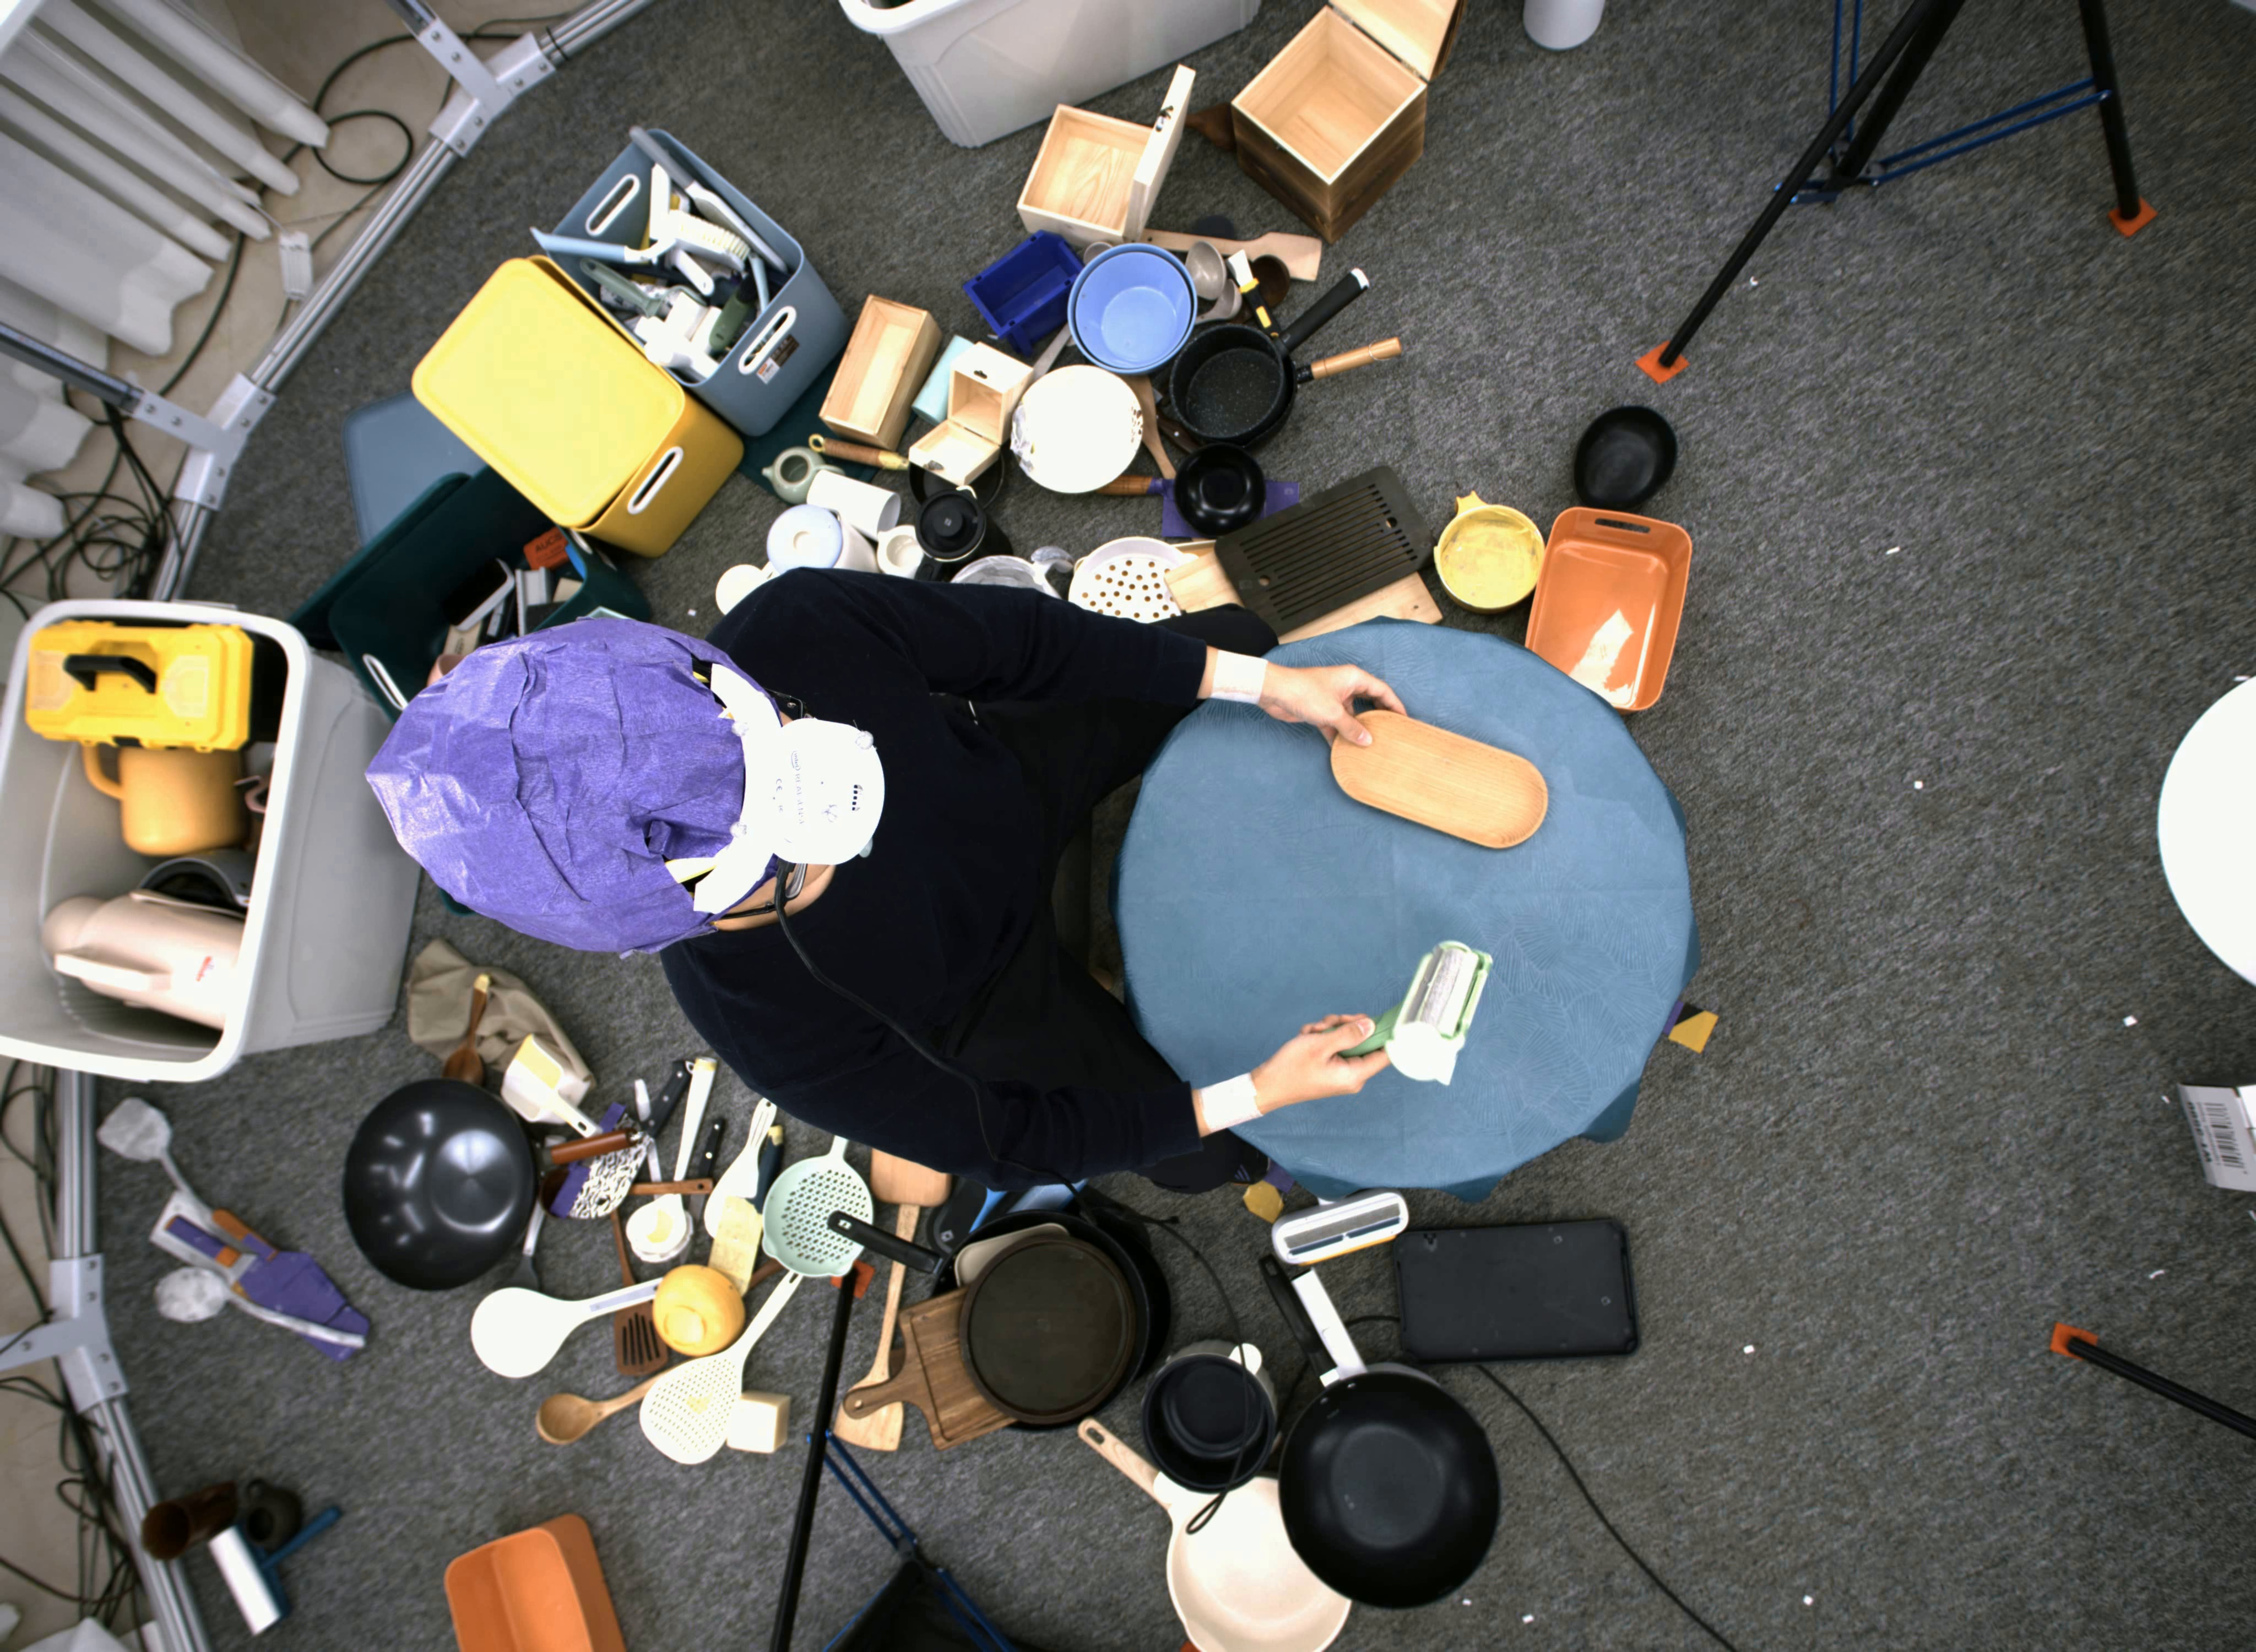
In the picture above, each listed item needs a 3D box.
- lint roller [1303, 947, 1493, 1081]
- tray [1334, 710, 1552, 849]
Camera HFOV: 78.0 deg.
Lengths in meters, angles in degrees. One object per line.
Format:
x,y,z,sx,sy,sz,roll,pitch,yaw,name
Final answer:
0.252,0.201,1.292,0.187,0.195,0.082,-40,86,29,lint roller
0.329,-0.051,1.438,0.231,0.020,0.102,19,100,6,tray
